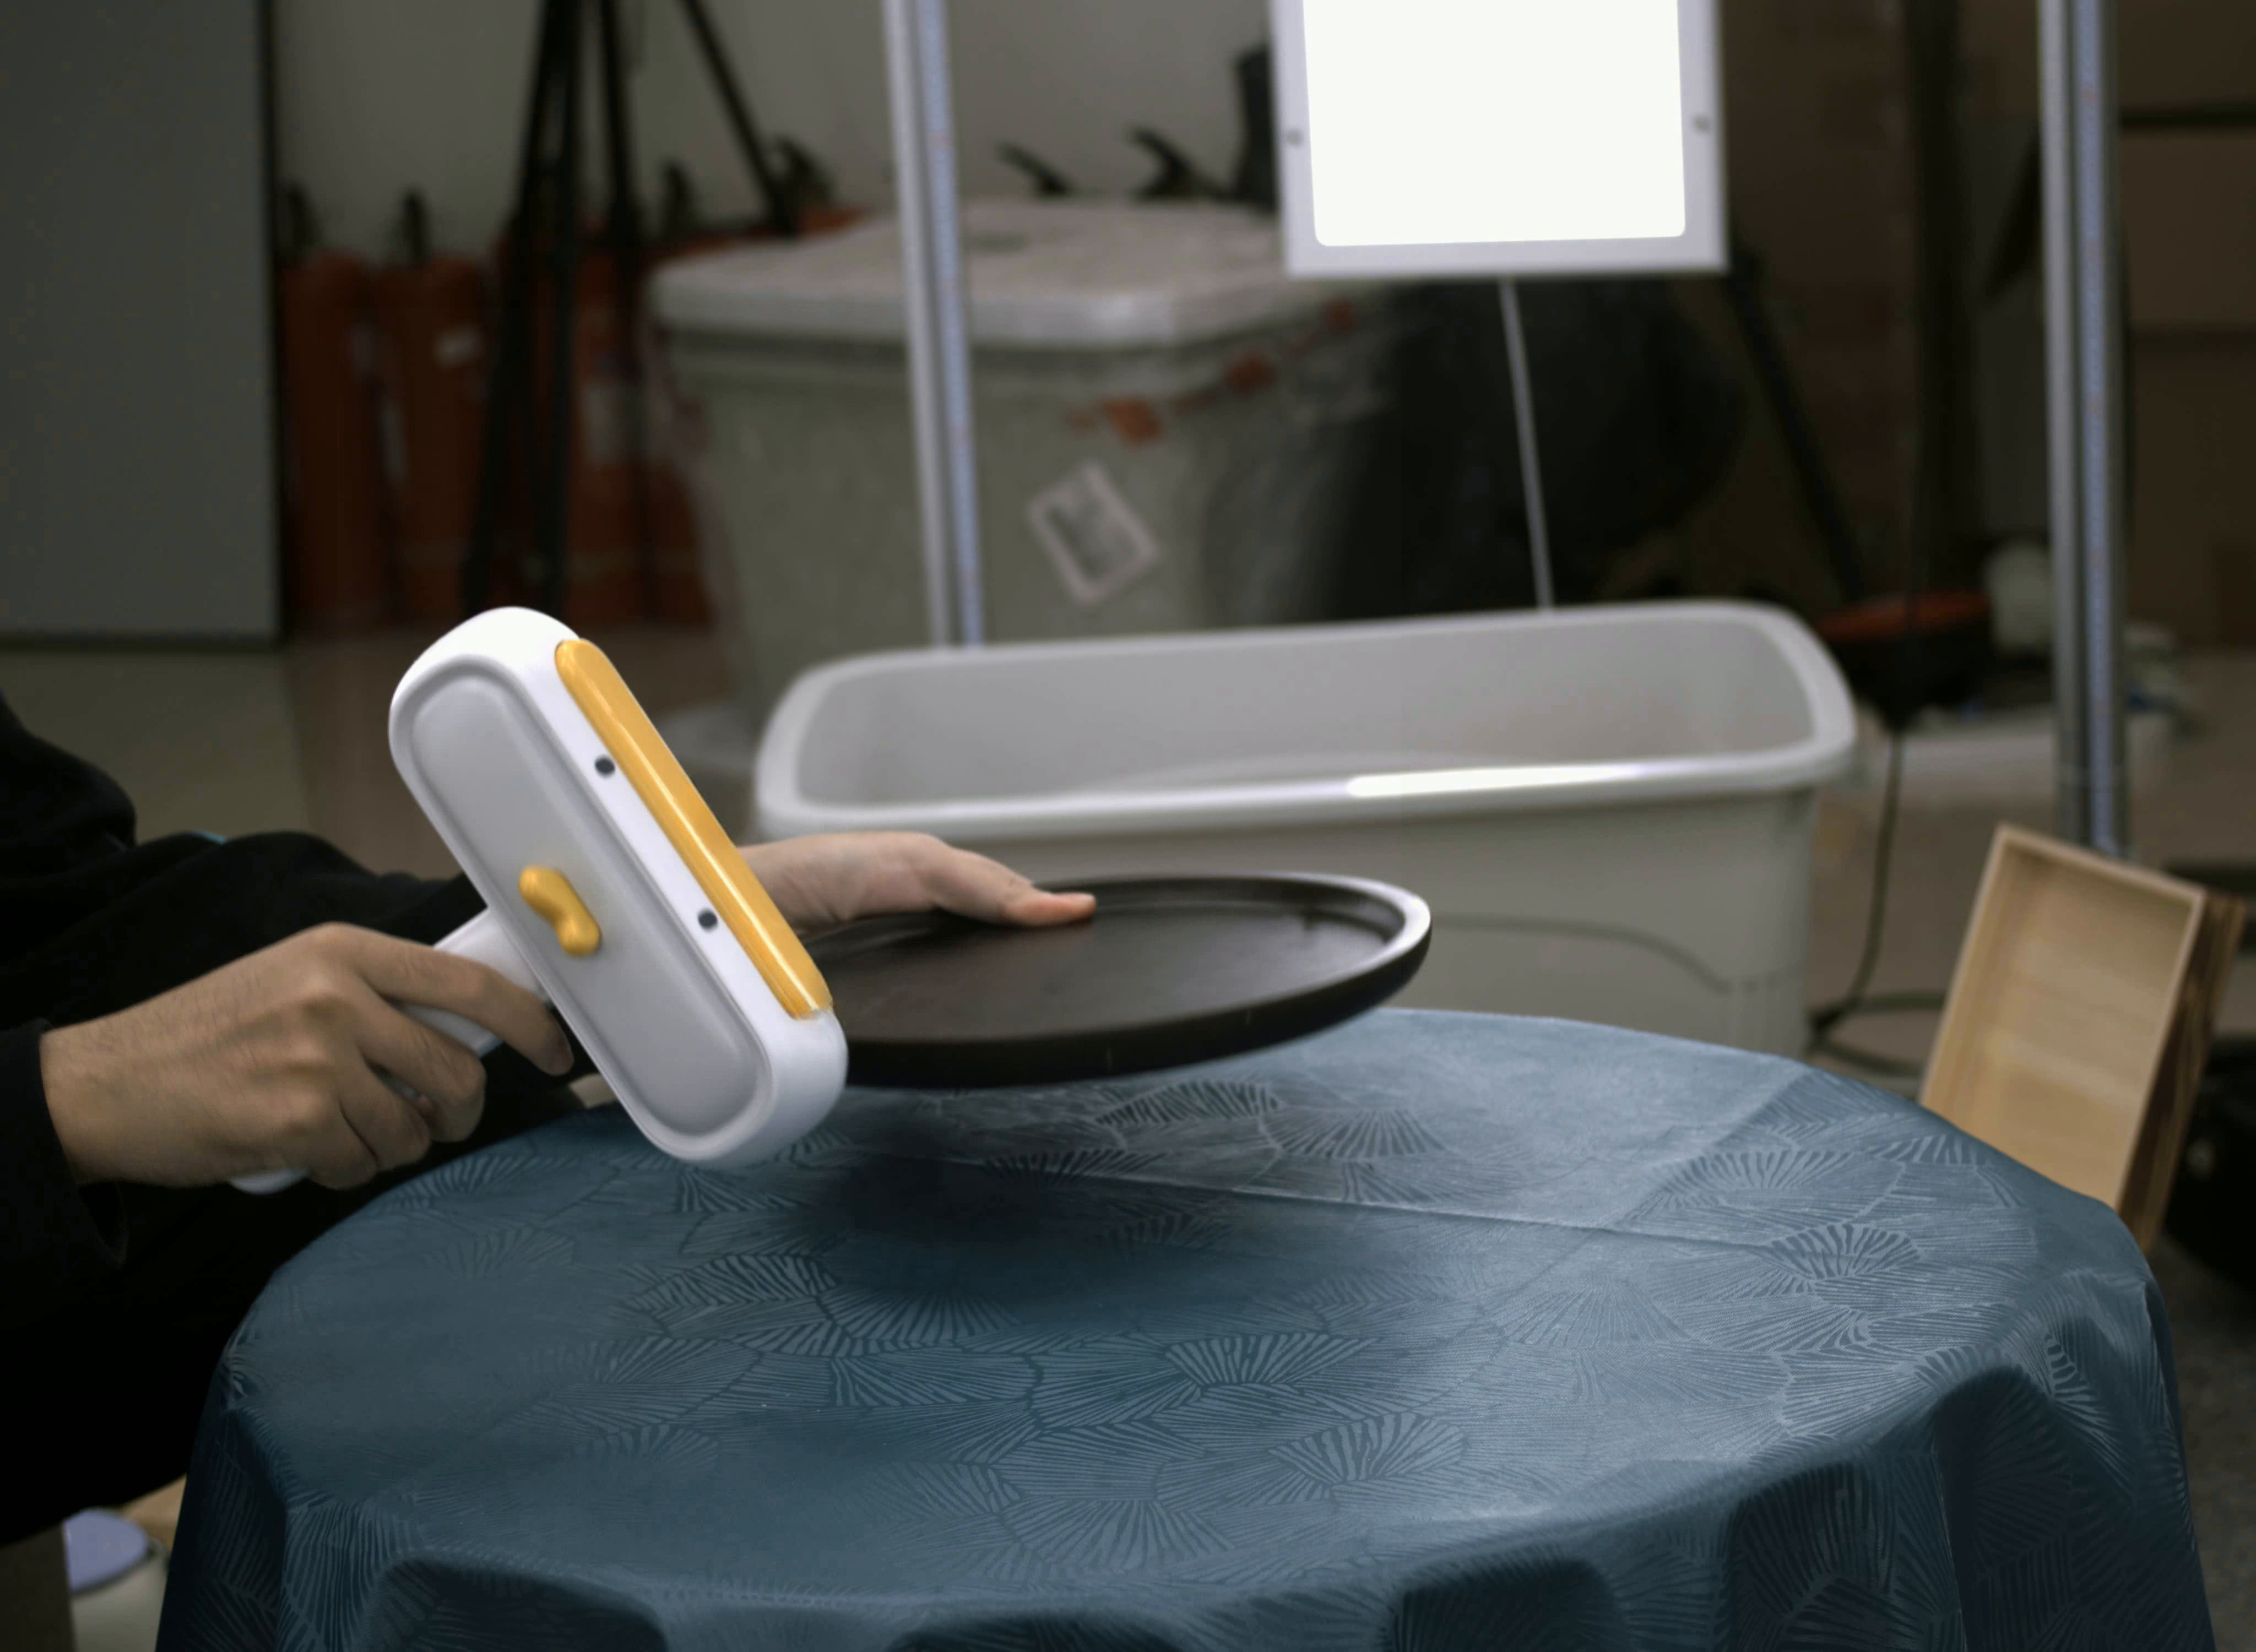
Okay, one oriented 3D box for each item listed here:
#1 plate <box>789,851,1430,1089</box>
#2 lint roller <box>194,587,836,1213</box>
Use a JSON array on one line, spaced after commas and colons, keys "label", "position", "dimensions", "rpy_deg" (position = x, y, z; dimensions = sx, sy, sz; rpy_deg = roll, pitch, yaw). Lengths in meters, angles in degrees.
[{"label": "plate", "position": [-0.019, 0.050, 1.910], "dimensions": [0.254, 0.029, 0.254], "rpy_deg": [-9, 10, 0]}, {"label": "lint roller", "position": [-0.211, 0.050, 1.736], "dimensions": [0.194, 0.193, 0.073], "rpy_deg": [-40, -3, 16]}]
